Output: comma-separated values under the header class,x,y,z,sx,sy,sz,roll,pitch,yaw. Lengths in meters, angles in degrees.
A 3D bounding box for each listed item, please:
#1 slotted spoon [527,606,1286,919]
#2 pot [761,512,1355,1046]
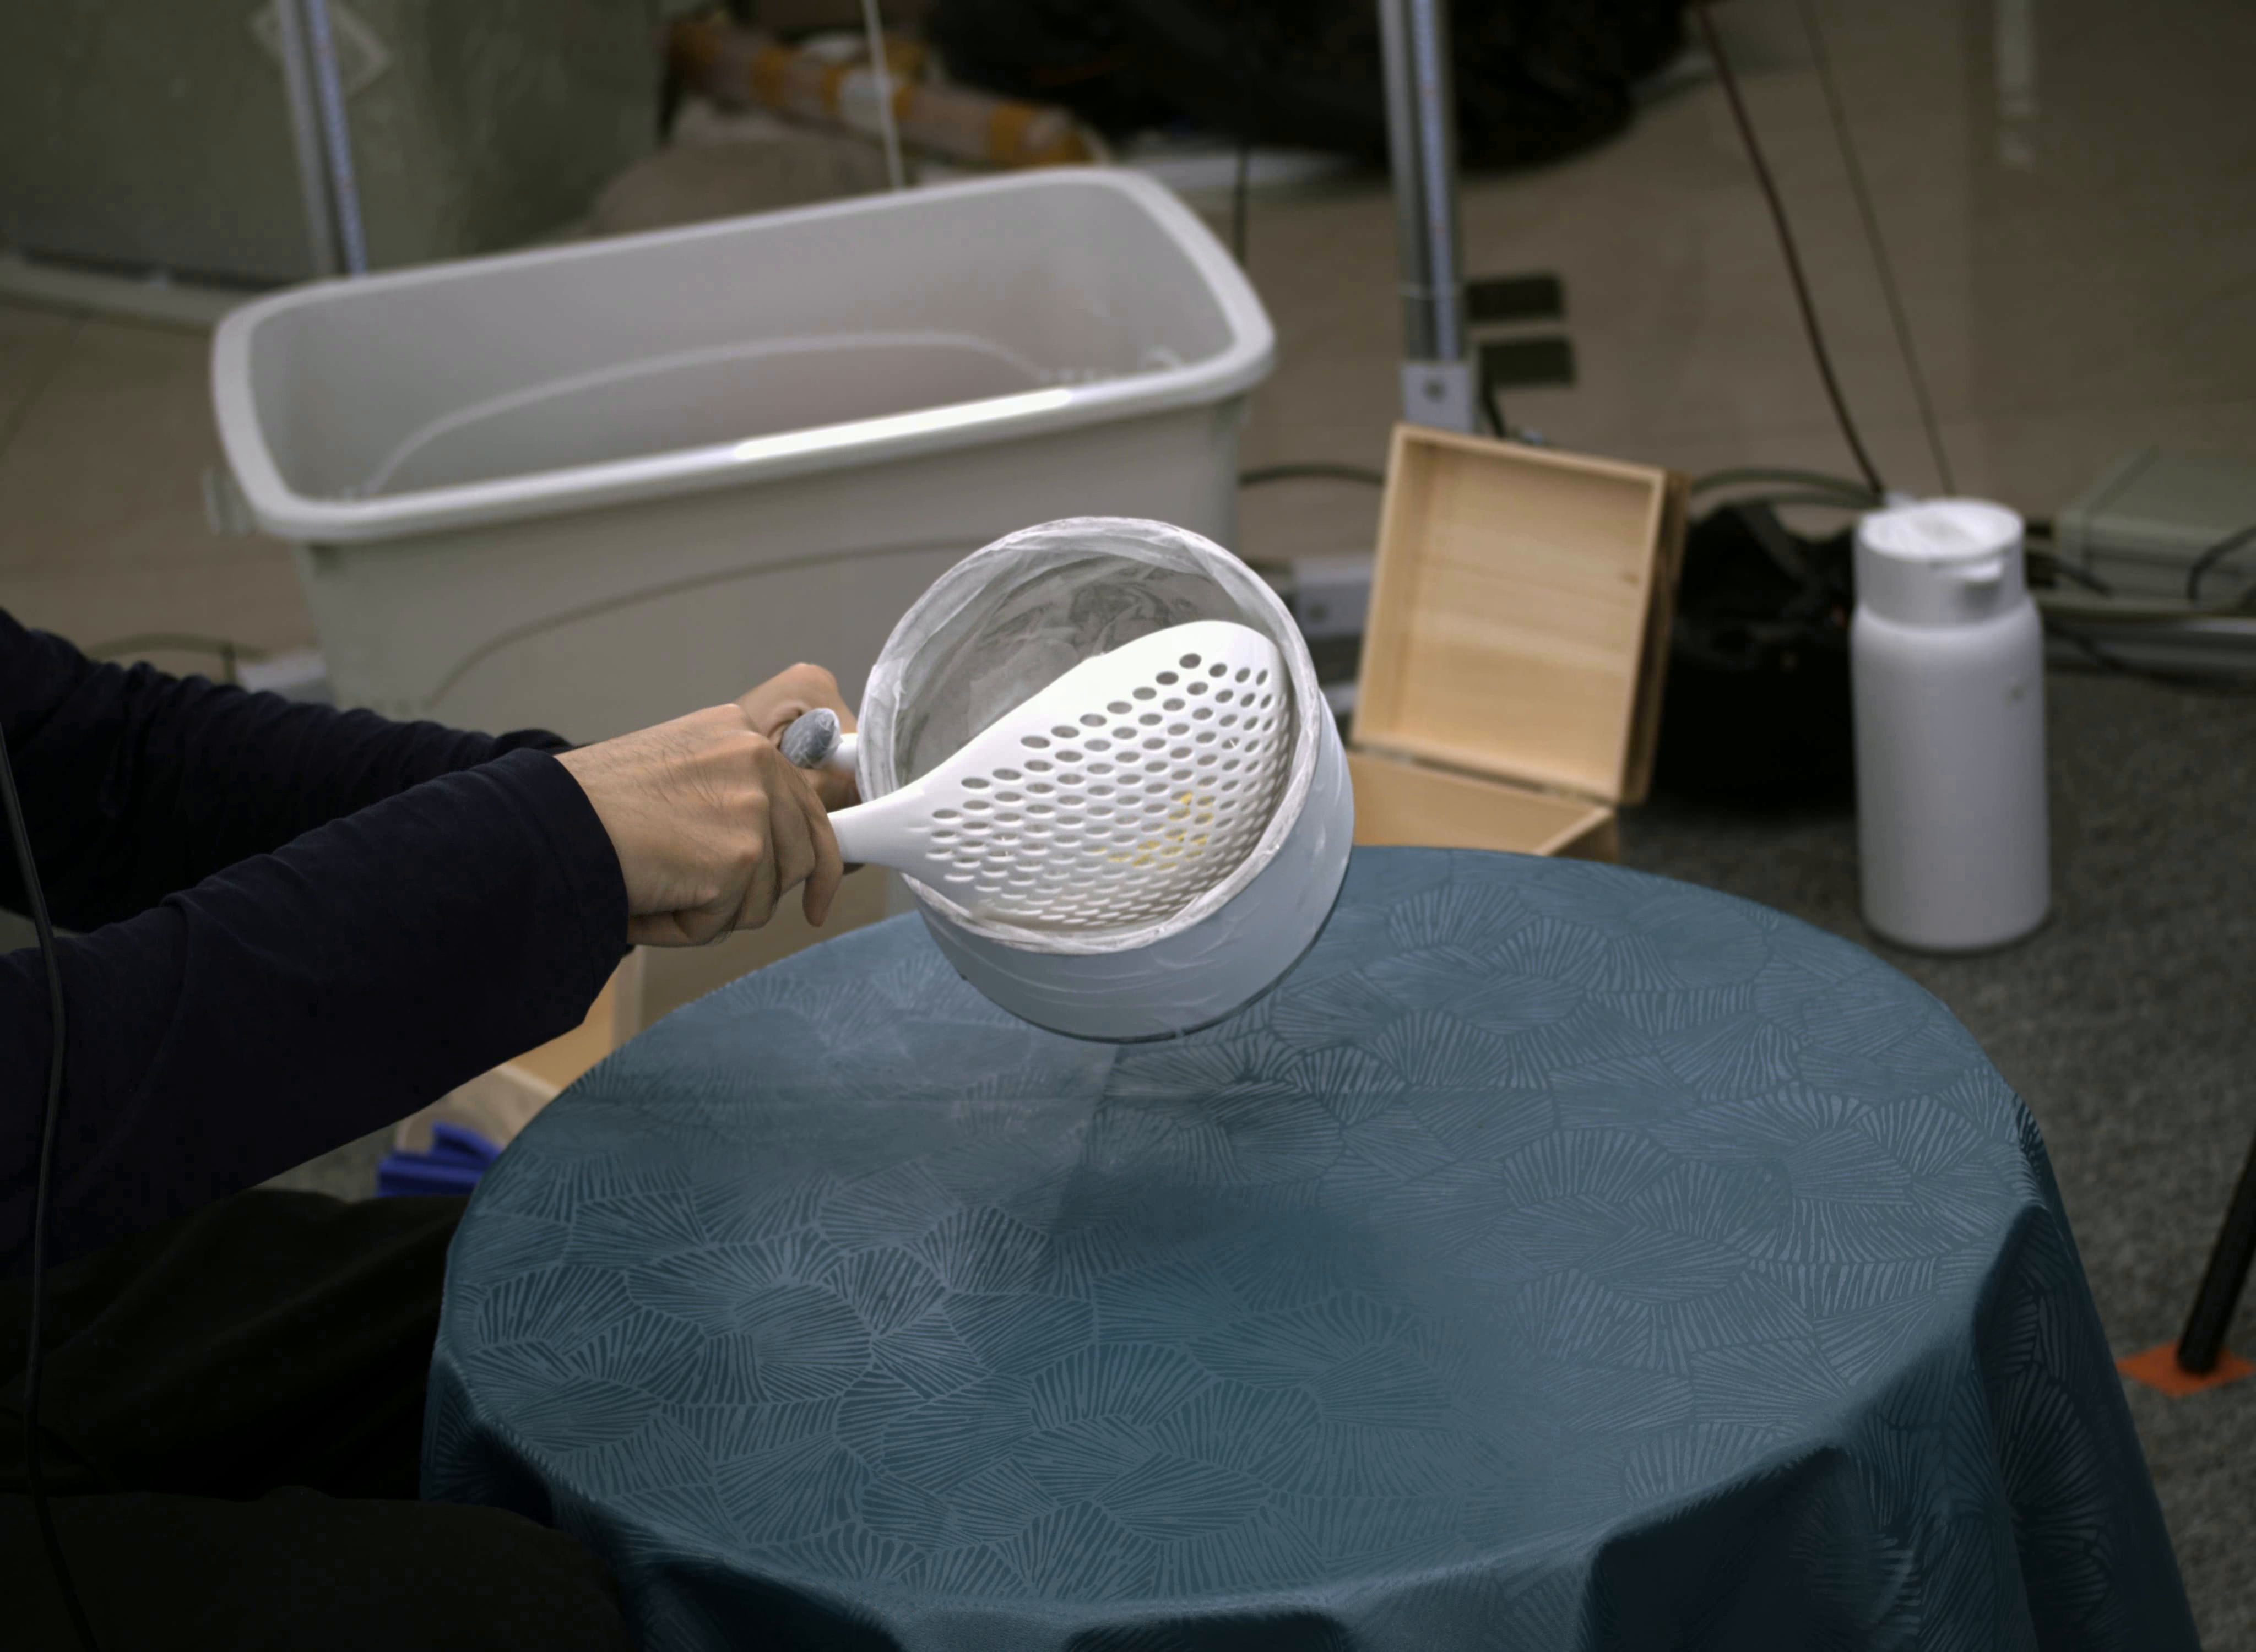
class,x,y,z,sx,sy,sz,roll,pitch,yaw
slotted spoon,-0.076,0.000,2.051,0.347,0.139,0.049,-8,40,-33
pot,-0.032,-0.013,2.174,0.233,0.138,0.176,-1,68,9
